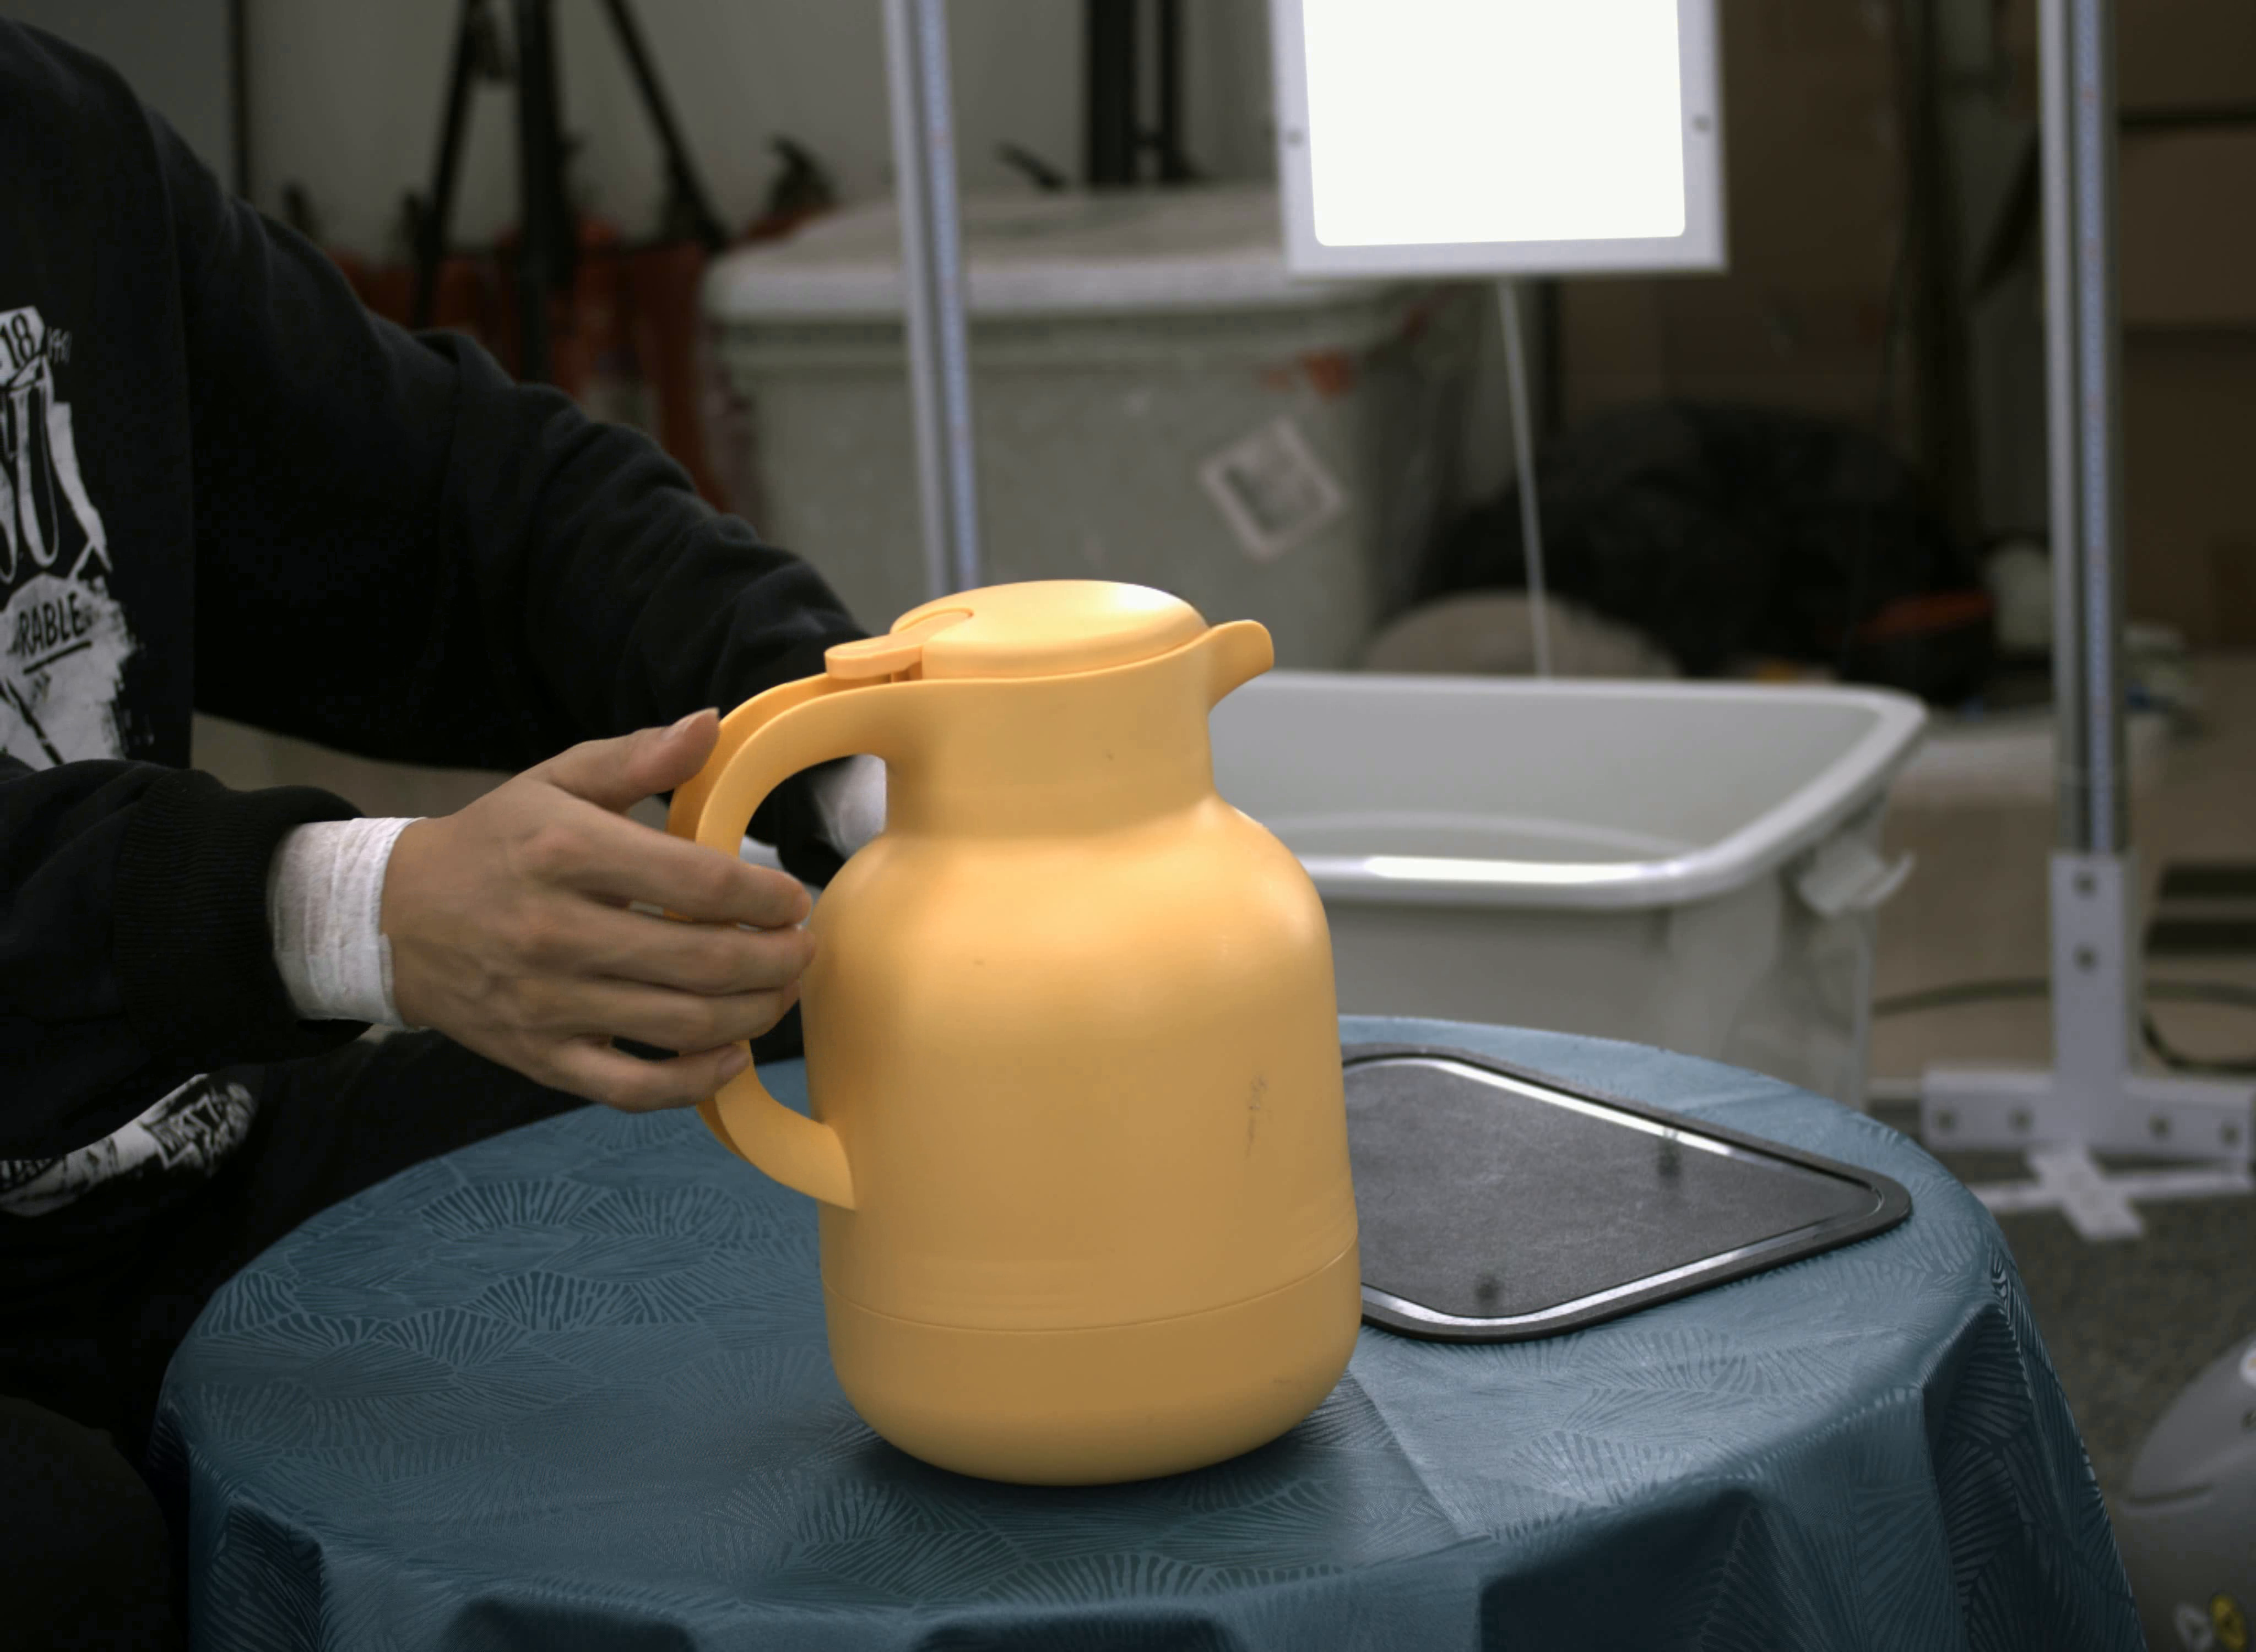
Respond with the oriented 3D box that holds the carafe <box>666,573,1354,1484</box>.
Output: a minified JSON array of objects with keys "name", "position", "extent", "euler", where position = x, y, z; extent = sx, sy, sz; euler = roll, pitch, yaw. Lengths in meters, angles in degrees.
[{"name":"carafe","position":[-0.036,0.059,1.638],"extent":[0.199,0.261,0.166],"euler":[-8,12,-20]}]

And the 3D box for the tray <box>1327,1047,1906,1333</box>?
[{"name":"tray","position":[0.099,0.118,1.883],"extent":[0.206,0.010,0.332],"euler":[-13,16,-31]}]
